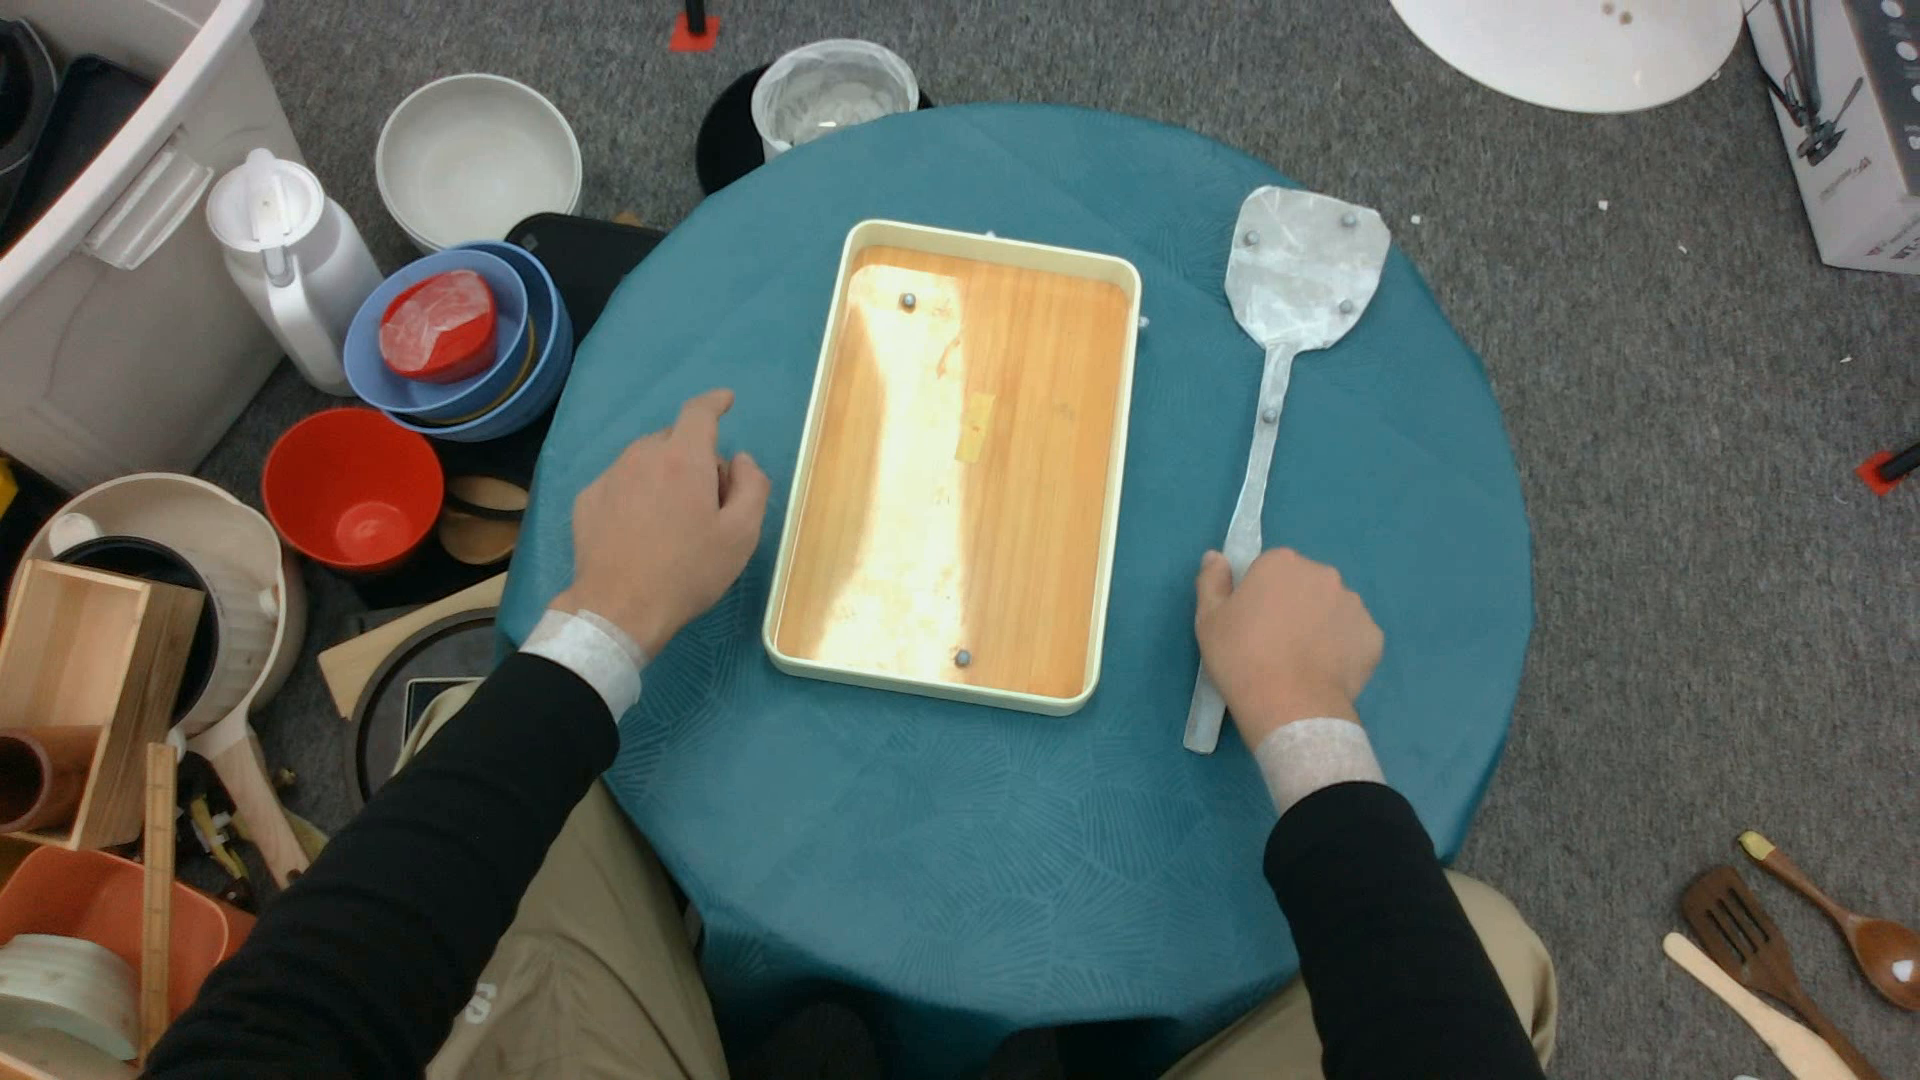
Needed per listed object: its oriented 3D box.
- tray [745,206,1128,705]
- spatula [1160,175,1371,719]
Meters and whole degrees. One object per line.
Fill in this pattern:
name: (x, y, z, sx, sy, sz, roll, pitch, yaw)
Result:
tray: (-0.007, -0.059, 0.824, 0.191, 0.027, 0.301, 10, 66, -1)
spatula: (0.174, -0.063, 0.835, 0.099, 0.044, 0.366, 16, 66, 2)
